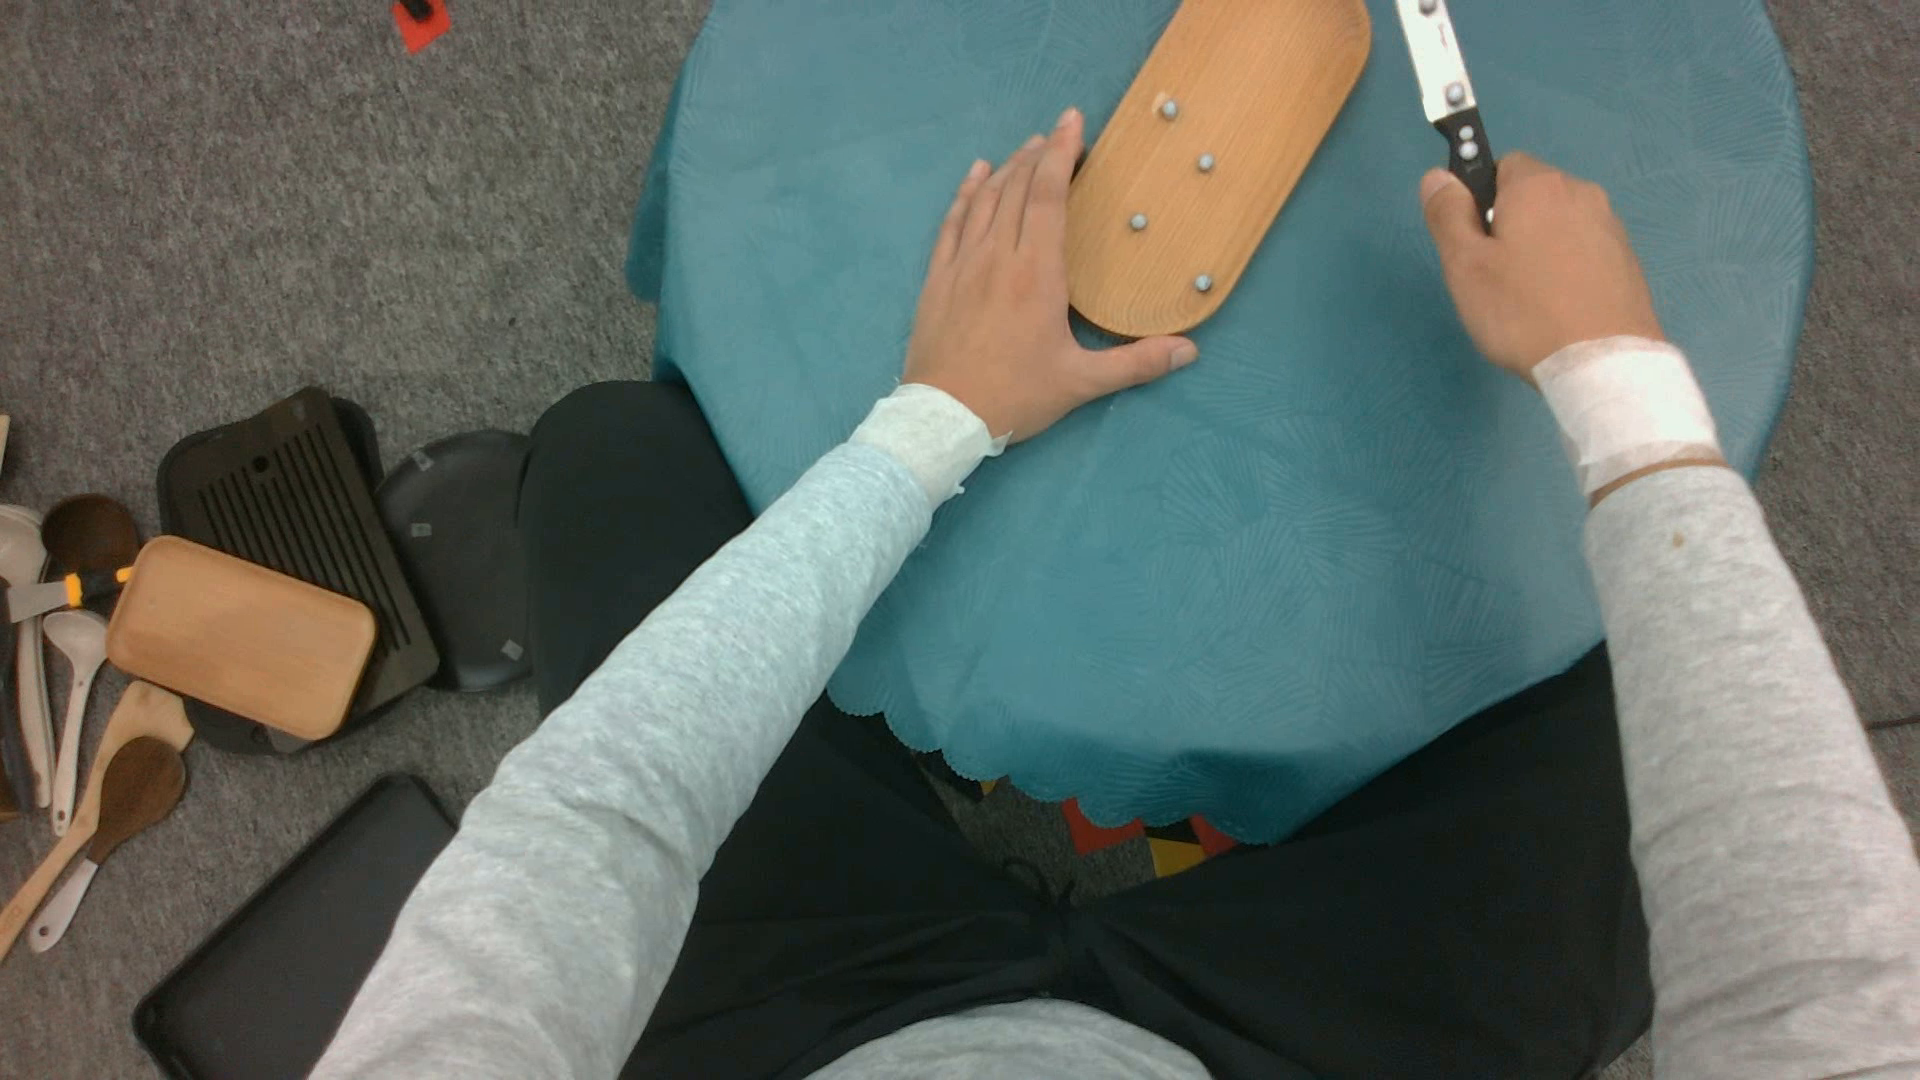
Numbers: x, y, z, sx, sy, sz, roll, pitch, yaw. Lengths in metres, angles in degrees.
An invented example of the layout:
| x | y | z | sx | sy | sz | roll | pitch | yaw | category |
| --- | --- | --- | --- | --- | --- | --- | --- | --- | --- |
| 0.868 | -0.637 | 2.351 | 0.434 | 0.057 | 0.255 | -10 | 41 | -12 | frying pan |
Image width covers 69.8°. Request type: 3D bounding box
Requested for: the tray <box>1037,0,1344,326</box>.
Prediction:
| x | y | z | sx | sy | sz | roll | pitch | yaw | category |
| --- | --- | --- | --- | --- | --- | --- | --- | --- | --- |
| 0.122 | -0.217 | 0.728 | 0.101 | 0.020 | 0.231 | 28 | 80 | 6 | tray |

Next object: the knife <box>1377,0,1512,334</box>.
| x | y | z | sx | sy | sz | roll | pitch | yaw | category |
| --- | --- | --- | --- | --- | --- | --- | --- | --- | --- |
| 0.226 | -0.210 | 0.658 | 0.024 | 0.016 | 0.238 | -15 | 74 | 18 | knife |
